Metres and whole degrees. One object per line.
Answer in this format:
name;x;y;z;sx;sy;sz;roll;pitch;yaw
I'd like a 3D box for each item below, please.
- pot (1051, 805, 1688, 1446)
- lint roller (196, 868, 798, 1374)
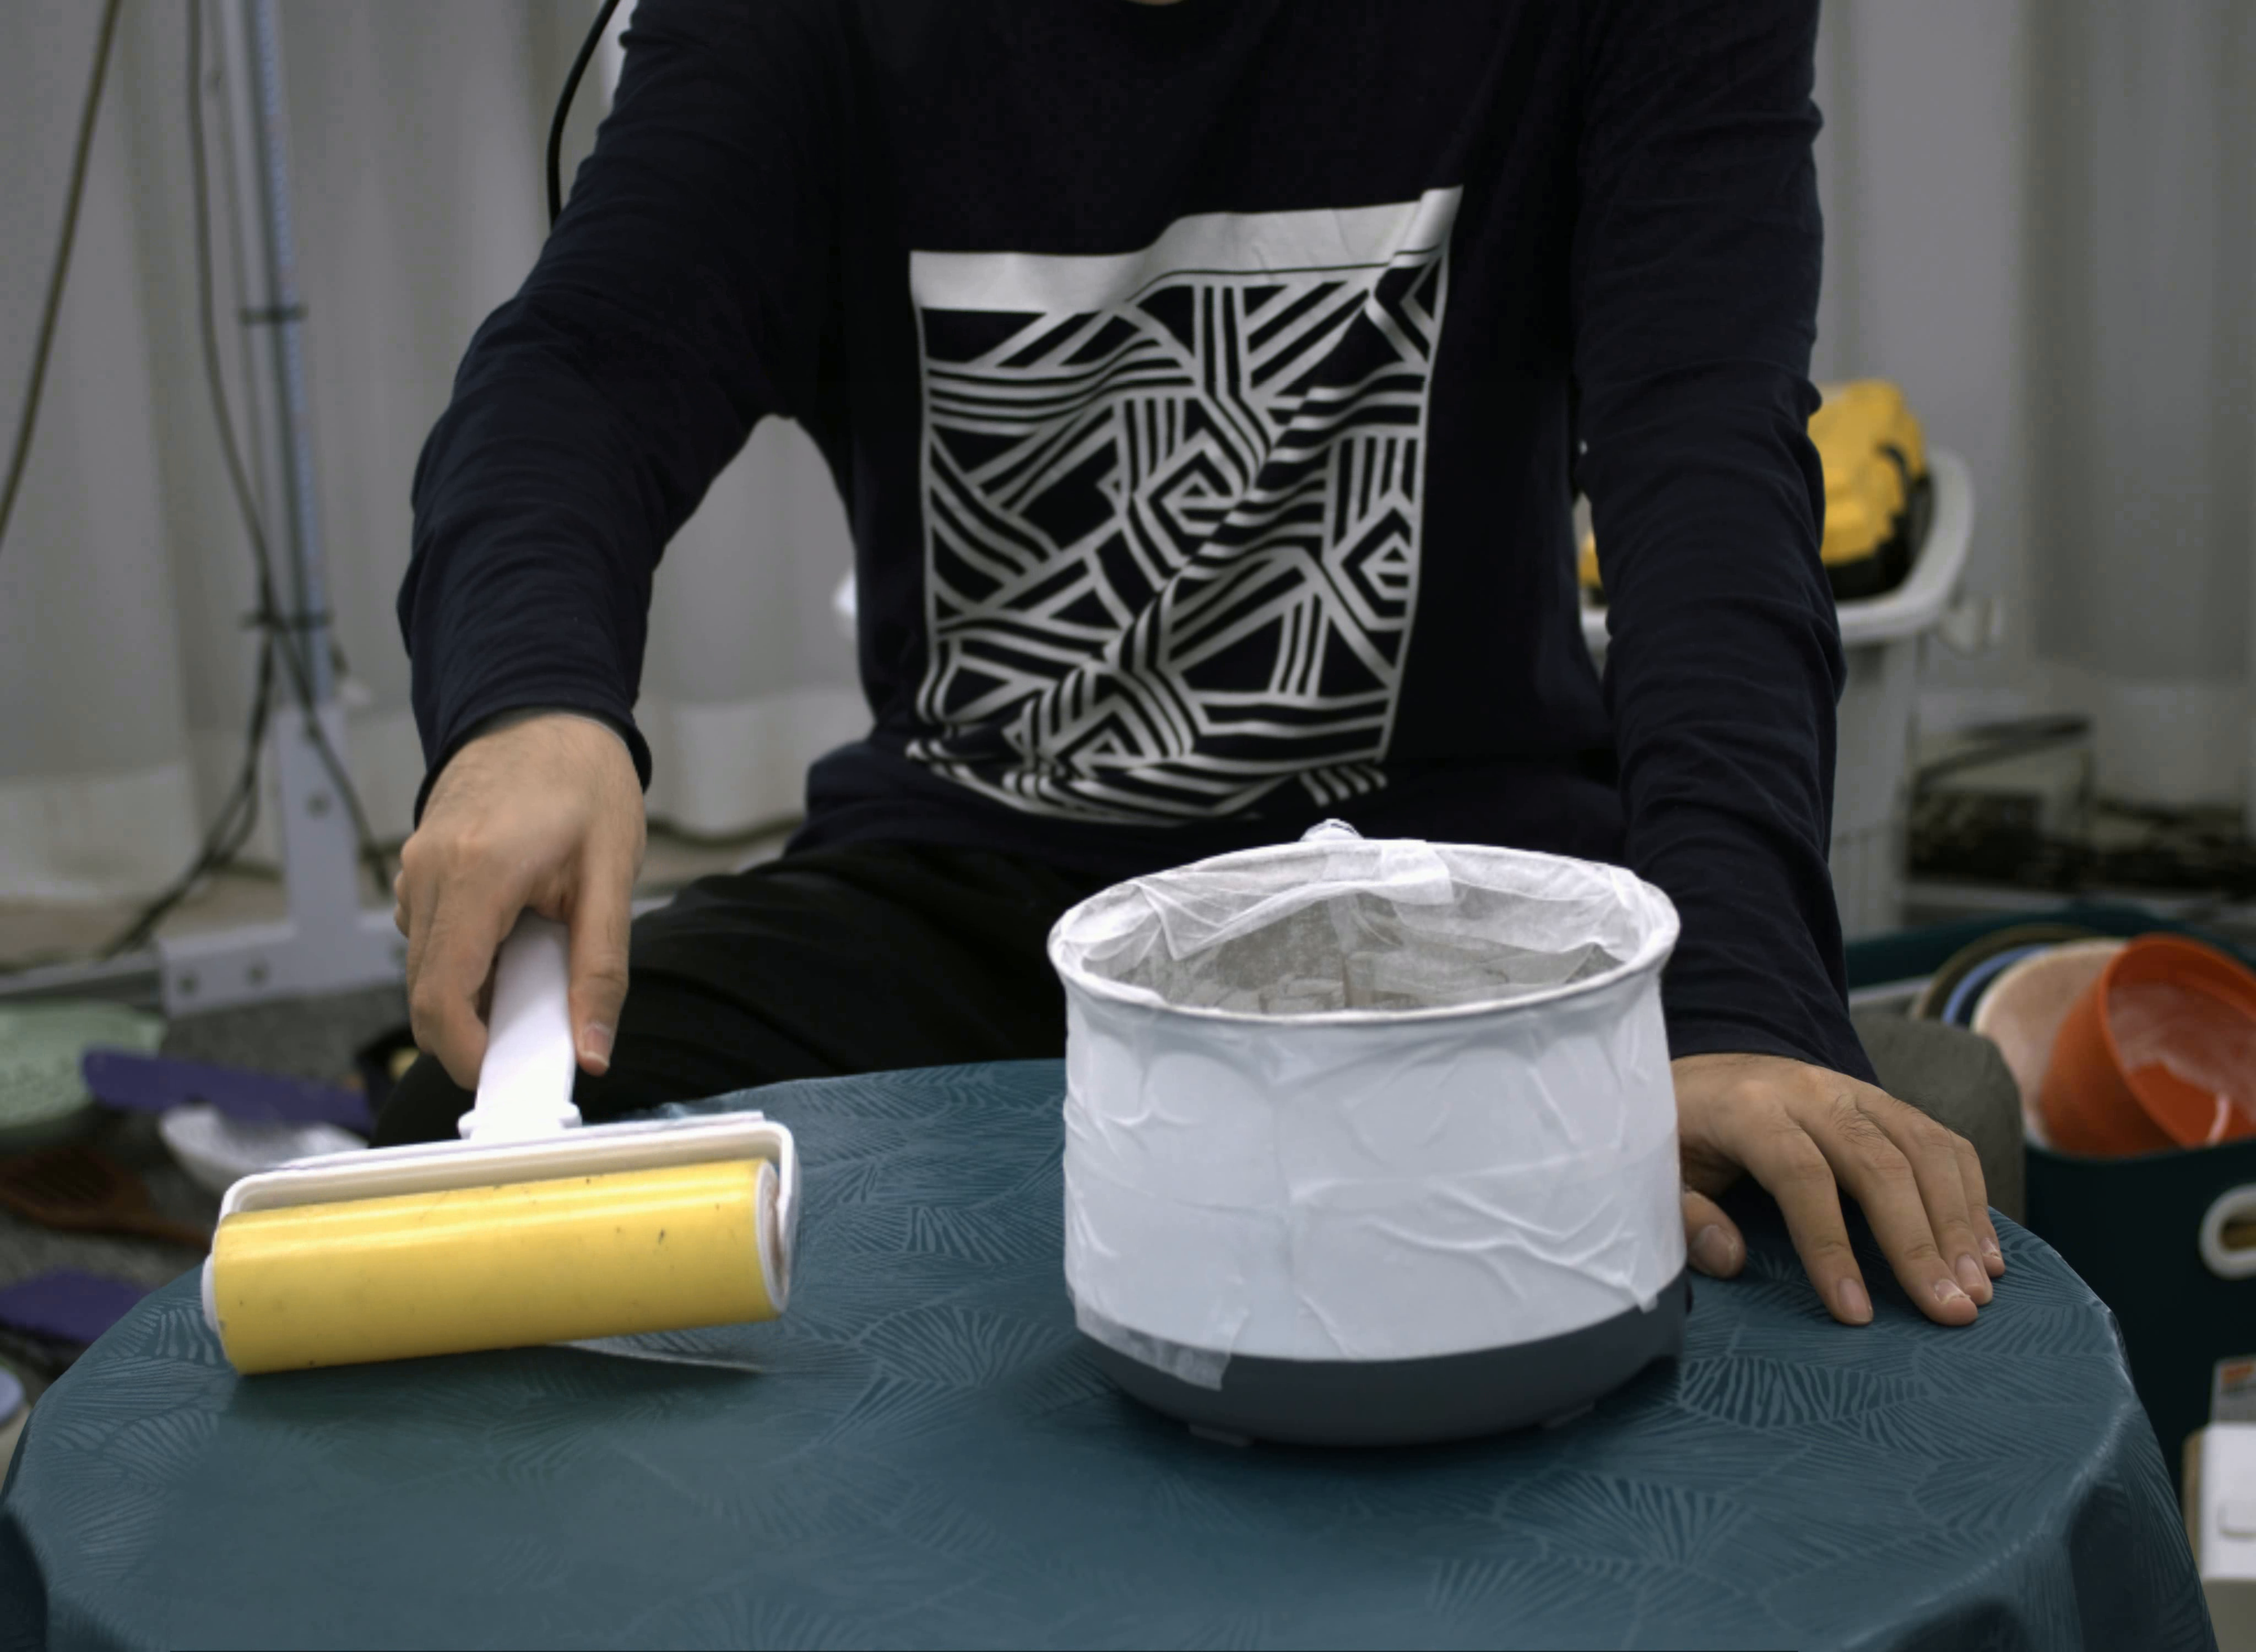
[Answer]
pot;0.066;0.080;1.563;0.178;0.136;0.235;-2;16;-4
lint roller;-0.183;0.075;1.627;0.174;0.051;0.195;-6;48;5
